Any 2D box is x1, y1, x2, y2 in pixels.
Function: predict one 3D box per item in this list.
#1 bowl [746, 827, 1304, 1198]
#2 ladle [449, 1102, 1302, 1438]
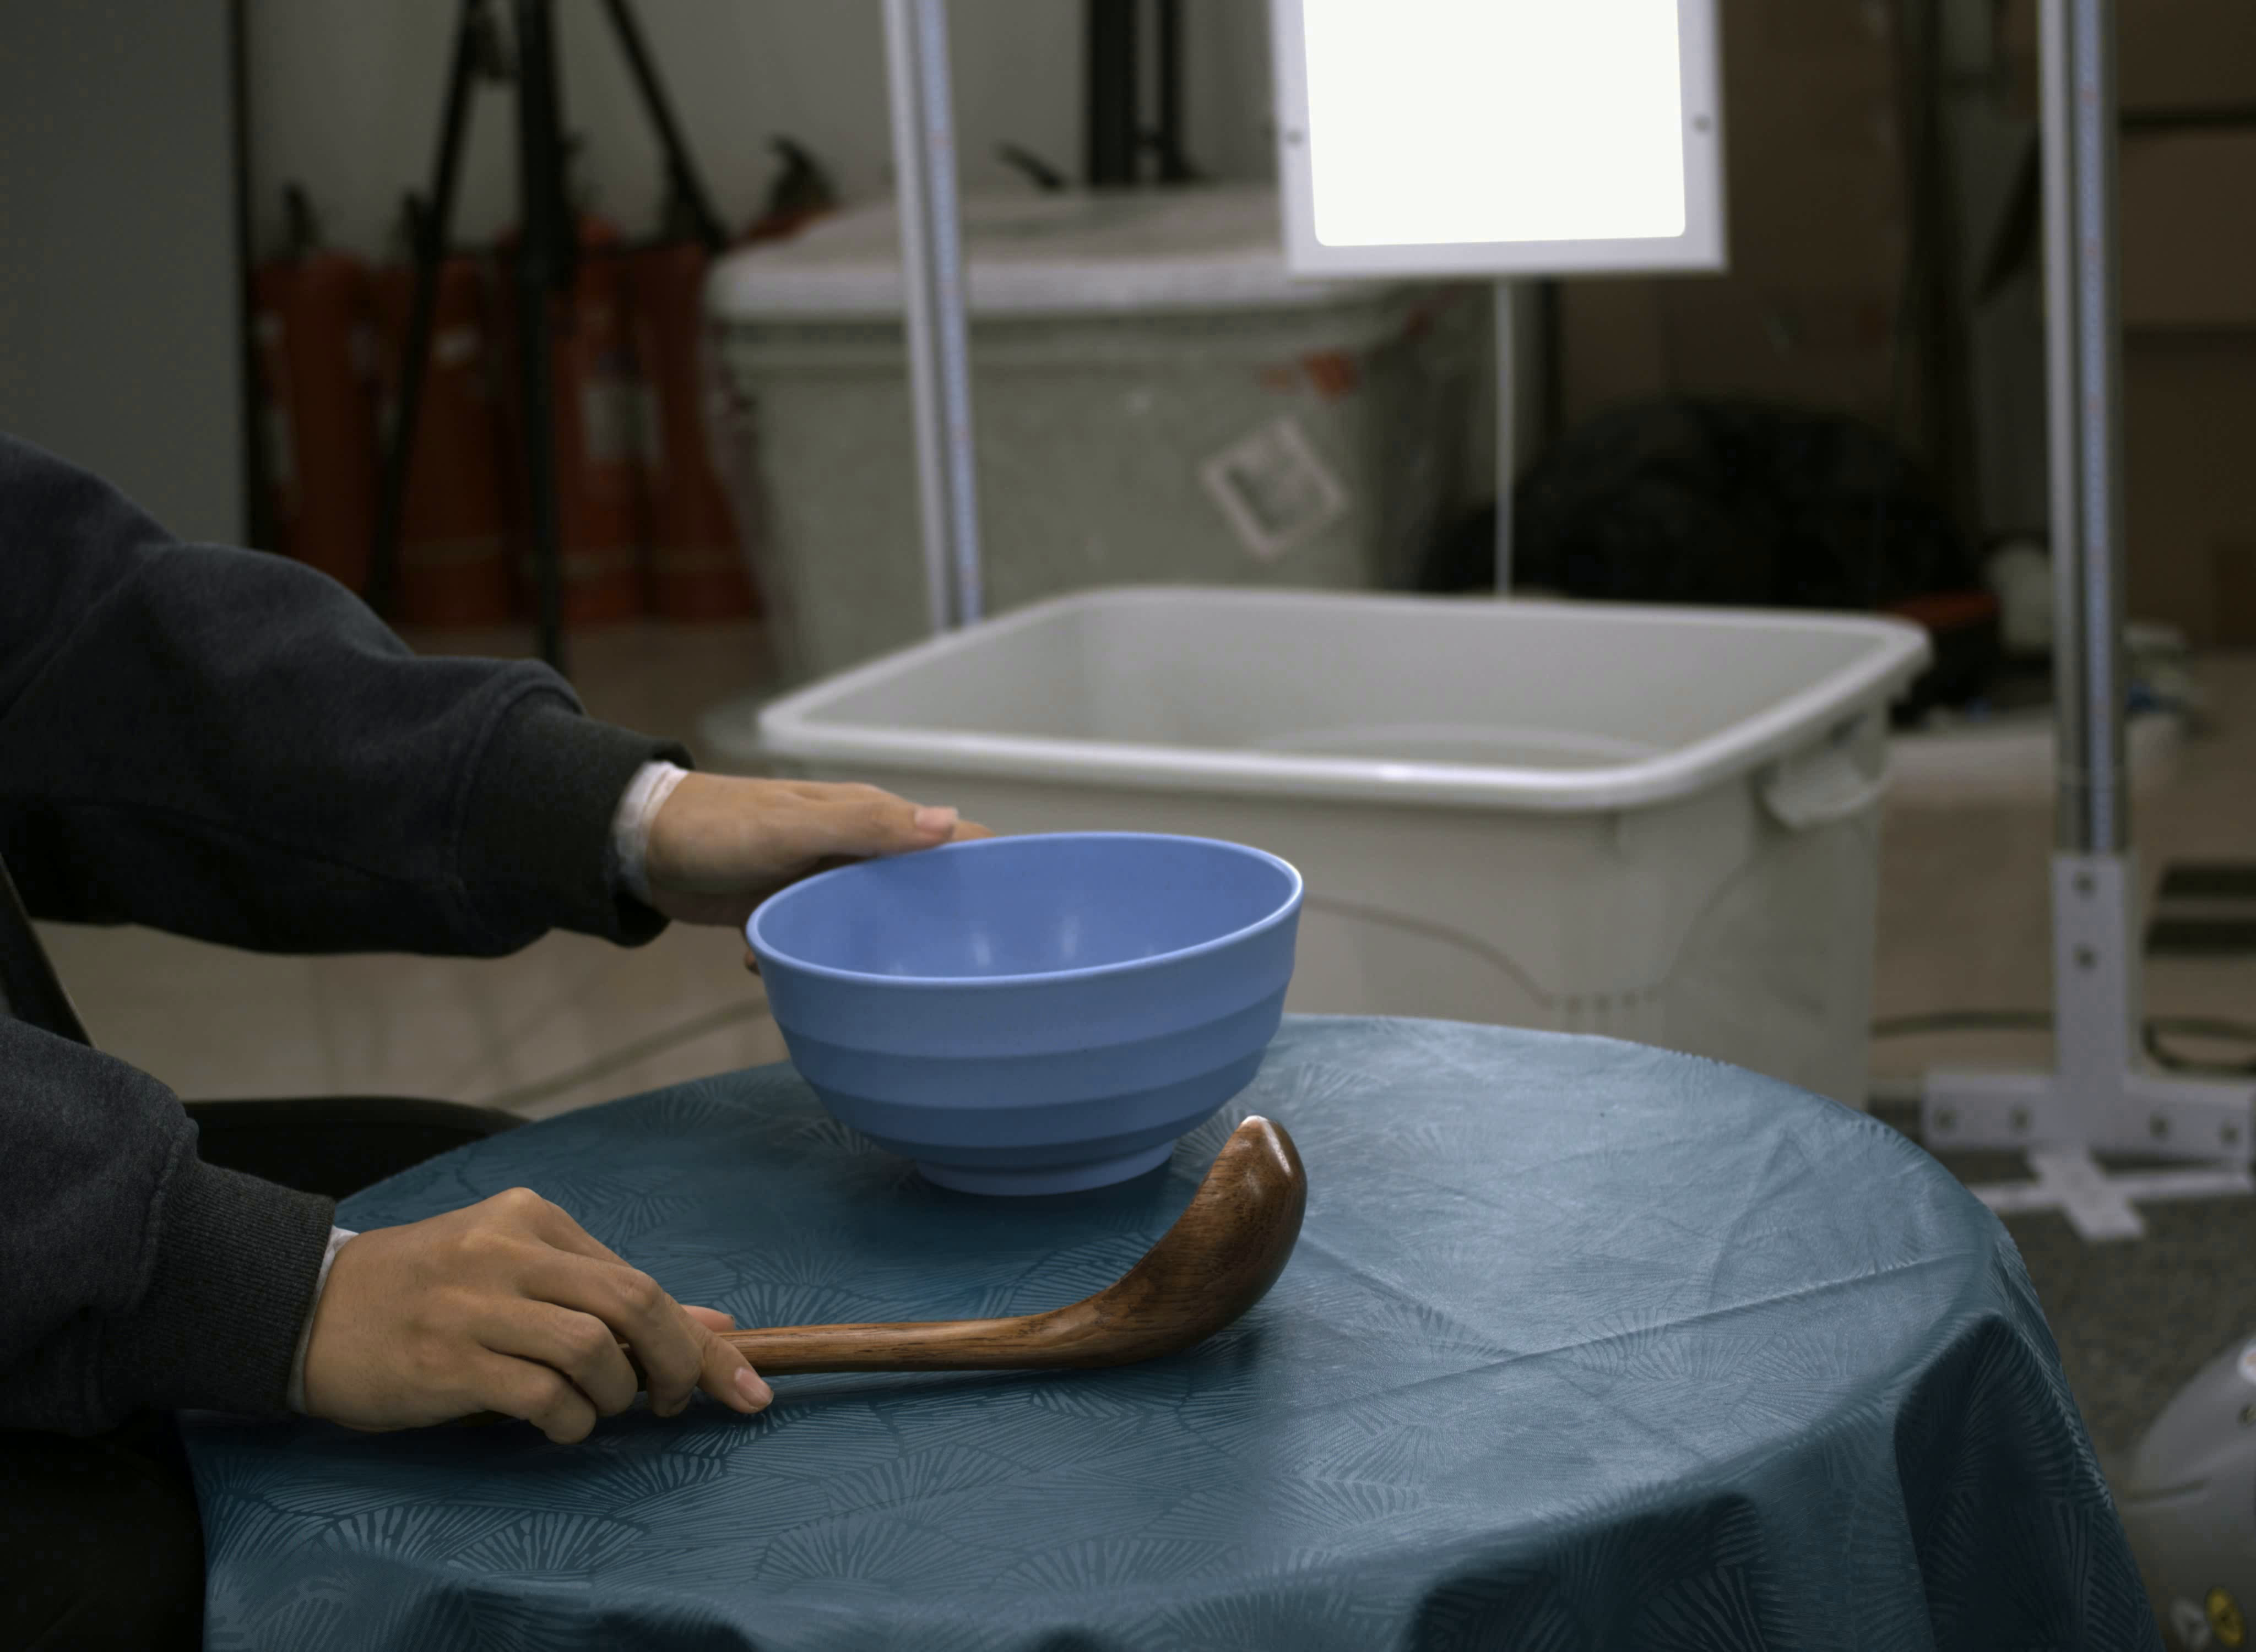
[{"bbox_3d":[-0.032,0.071,1.934,0.196,0.096,0.196,-5,14,0],"label":"bowl"},{"bbox_3d":[-0.079,0.138,1.731,0.274,0.076,0.082,-6,-26,2],"label":"ladle"}]
